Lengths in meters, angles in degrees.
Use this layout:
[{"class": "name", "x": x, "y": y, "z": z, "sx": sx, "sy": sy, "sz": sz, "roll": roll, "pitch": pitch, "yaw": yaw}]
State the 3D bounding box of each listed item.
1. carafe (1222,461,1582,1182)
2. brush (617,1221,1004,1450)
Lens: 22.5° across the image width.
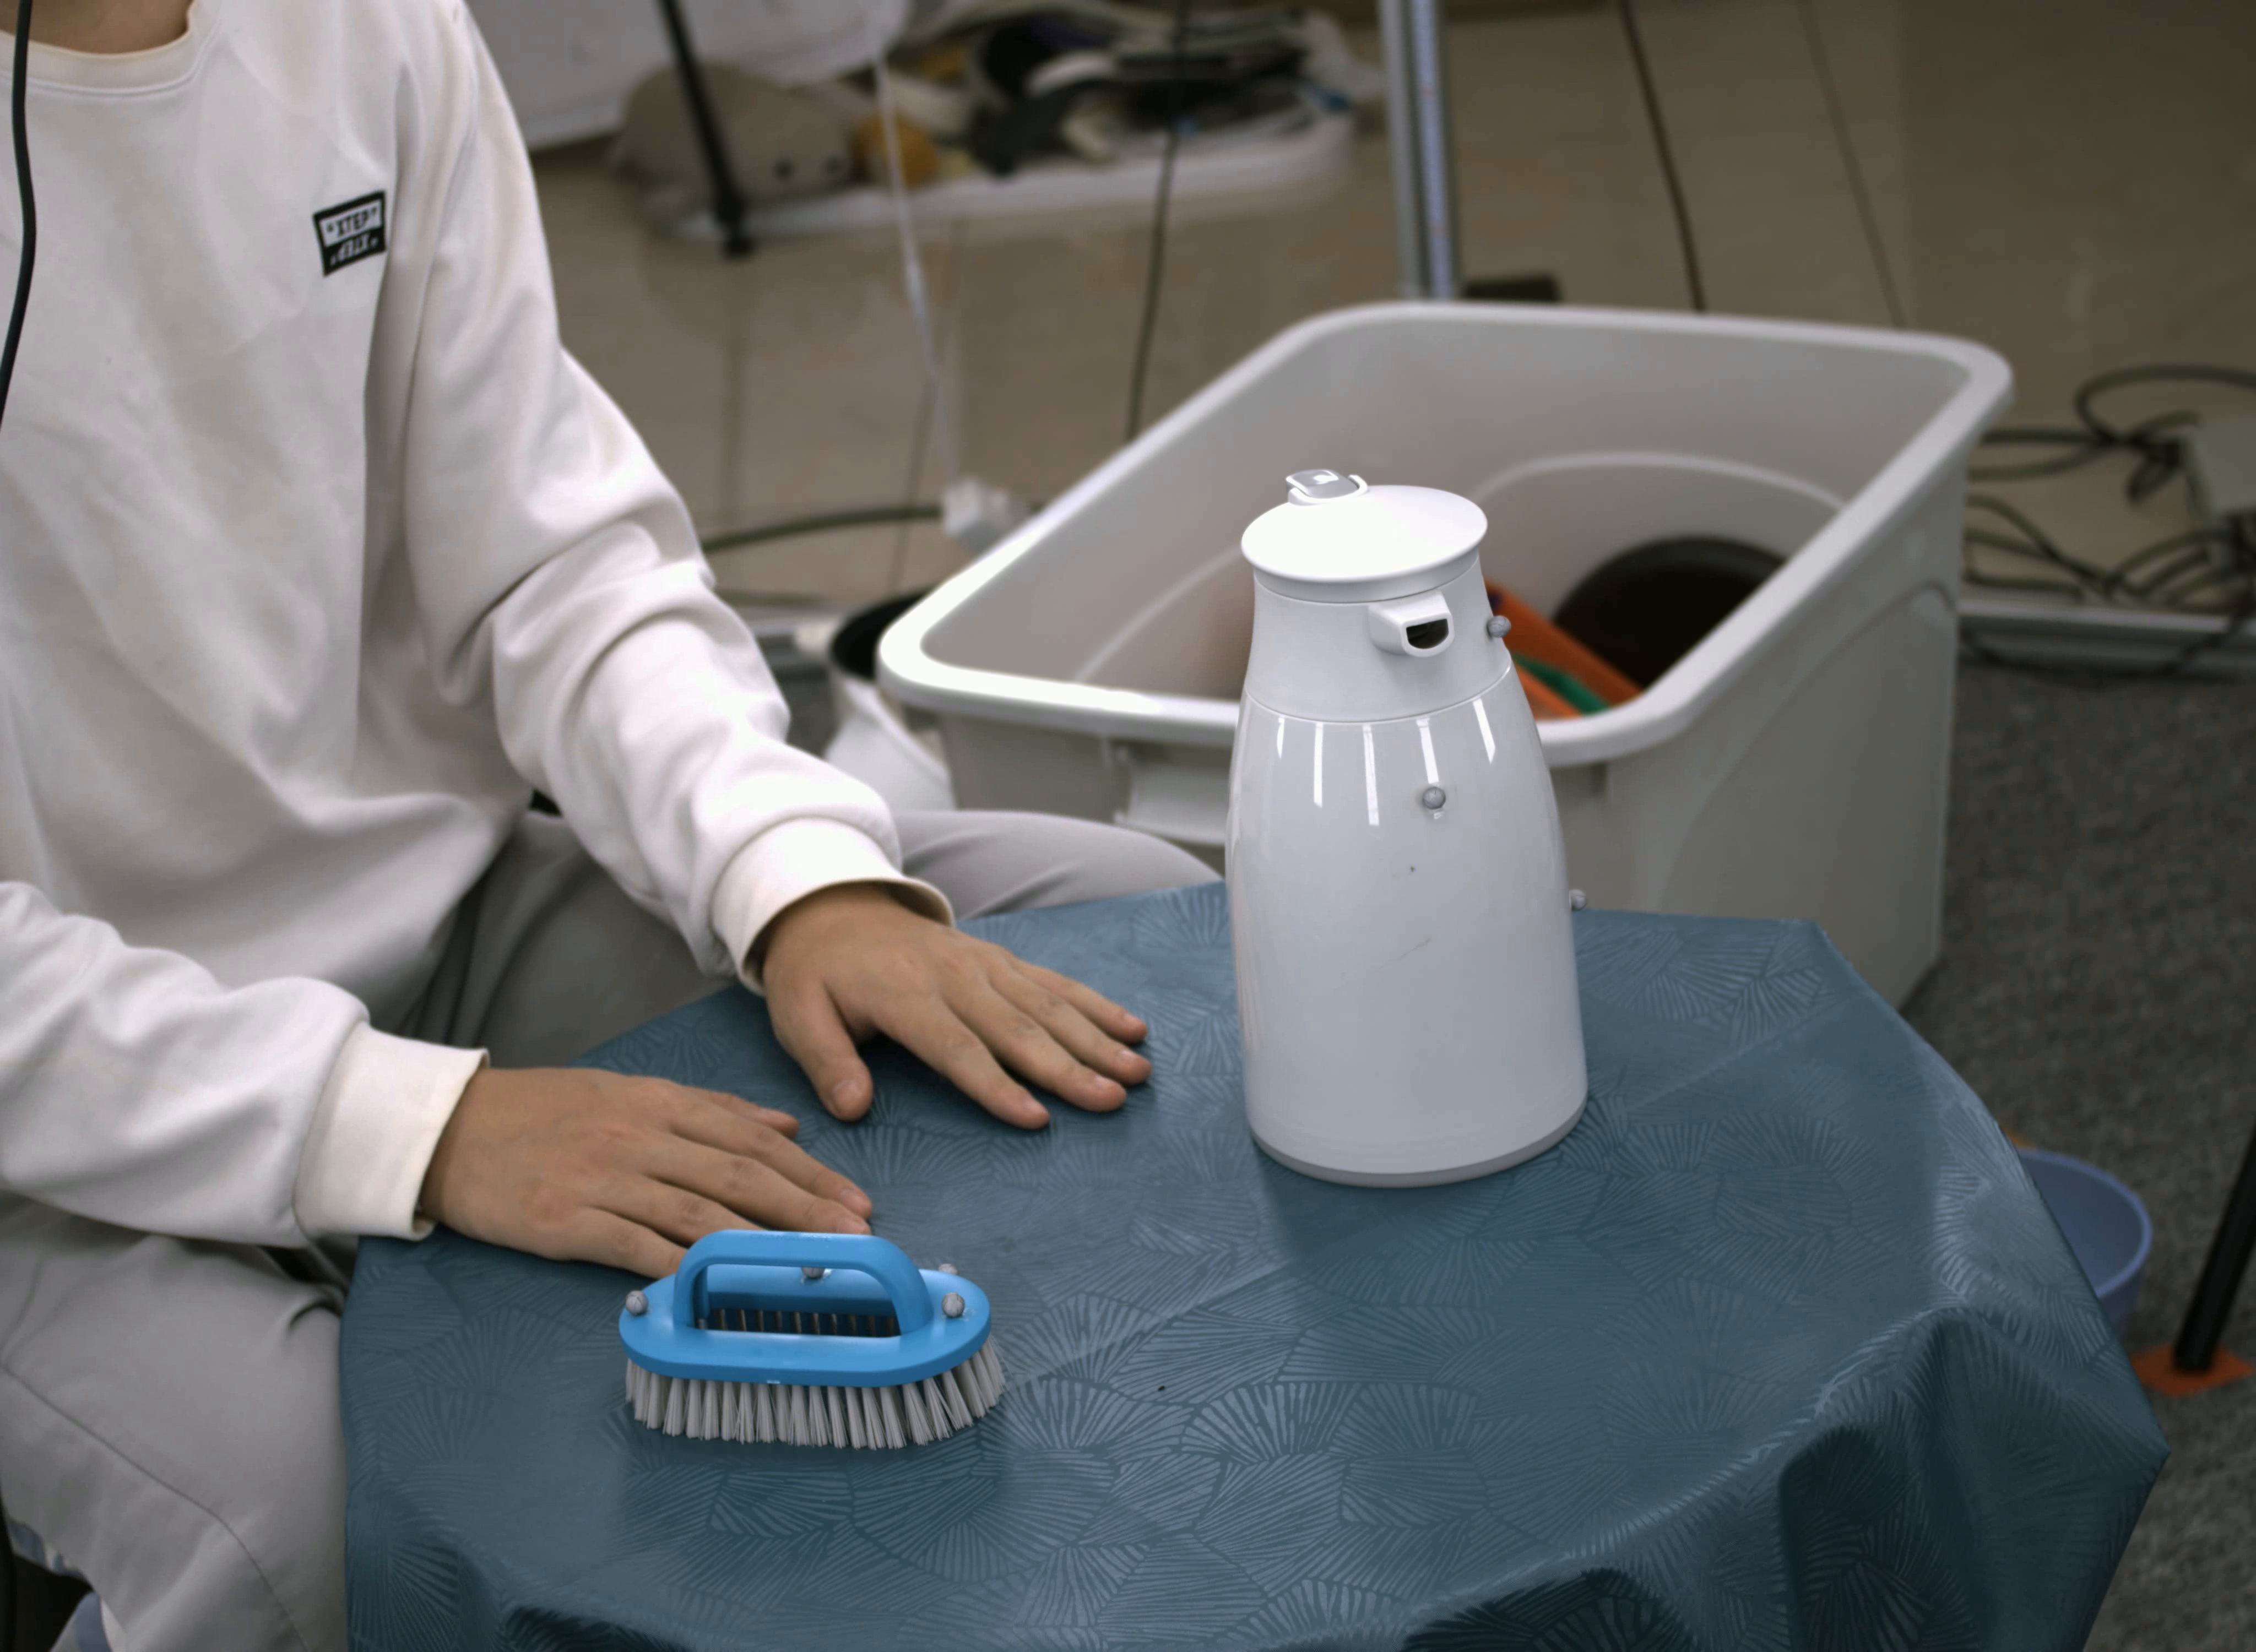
[{"class": "carafe", "x": 0.090, "y": -0.011, "z": 2.146, "sx": 0.132, "sy": 0.252, "sz": 0.165, "roll": -14, "pitch": 26, "yaw": -15}, {"class": "brush", "x": -0.117, "y": 0.172, "z": 2.024, "sx": 0.141, "sy": 0.065, "sz": 0.083, "roll": 1, "pitch": 31, "yaw": 19}]
